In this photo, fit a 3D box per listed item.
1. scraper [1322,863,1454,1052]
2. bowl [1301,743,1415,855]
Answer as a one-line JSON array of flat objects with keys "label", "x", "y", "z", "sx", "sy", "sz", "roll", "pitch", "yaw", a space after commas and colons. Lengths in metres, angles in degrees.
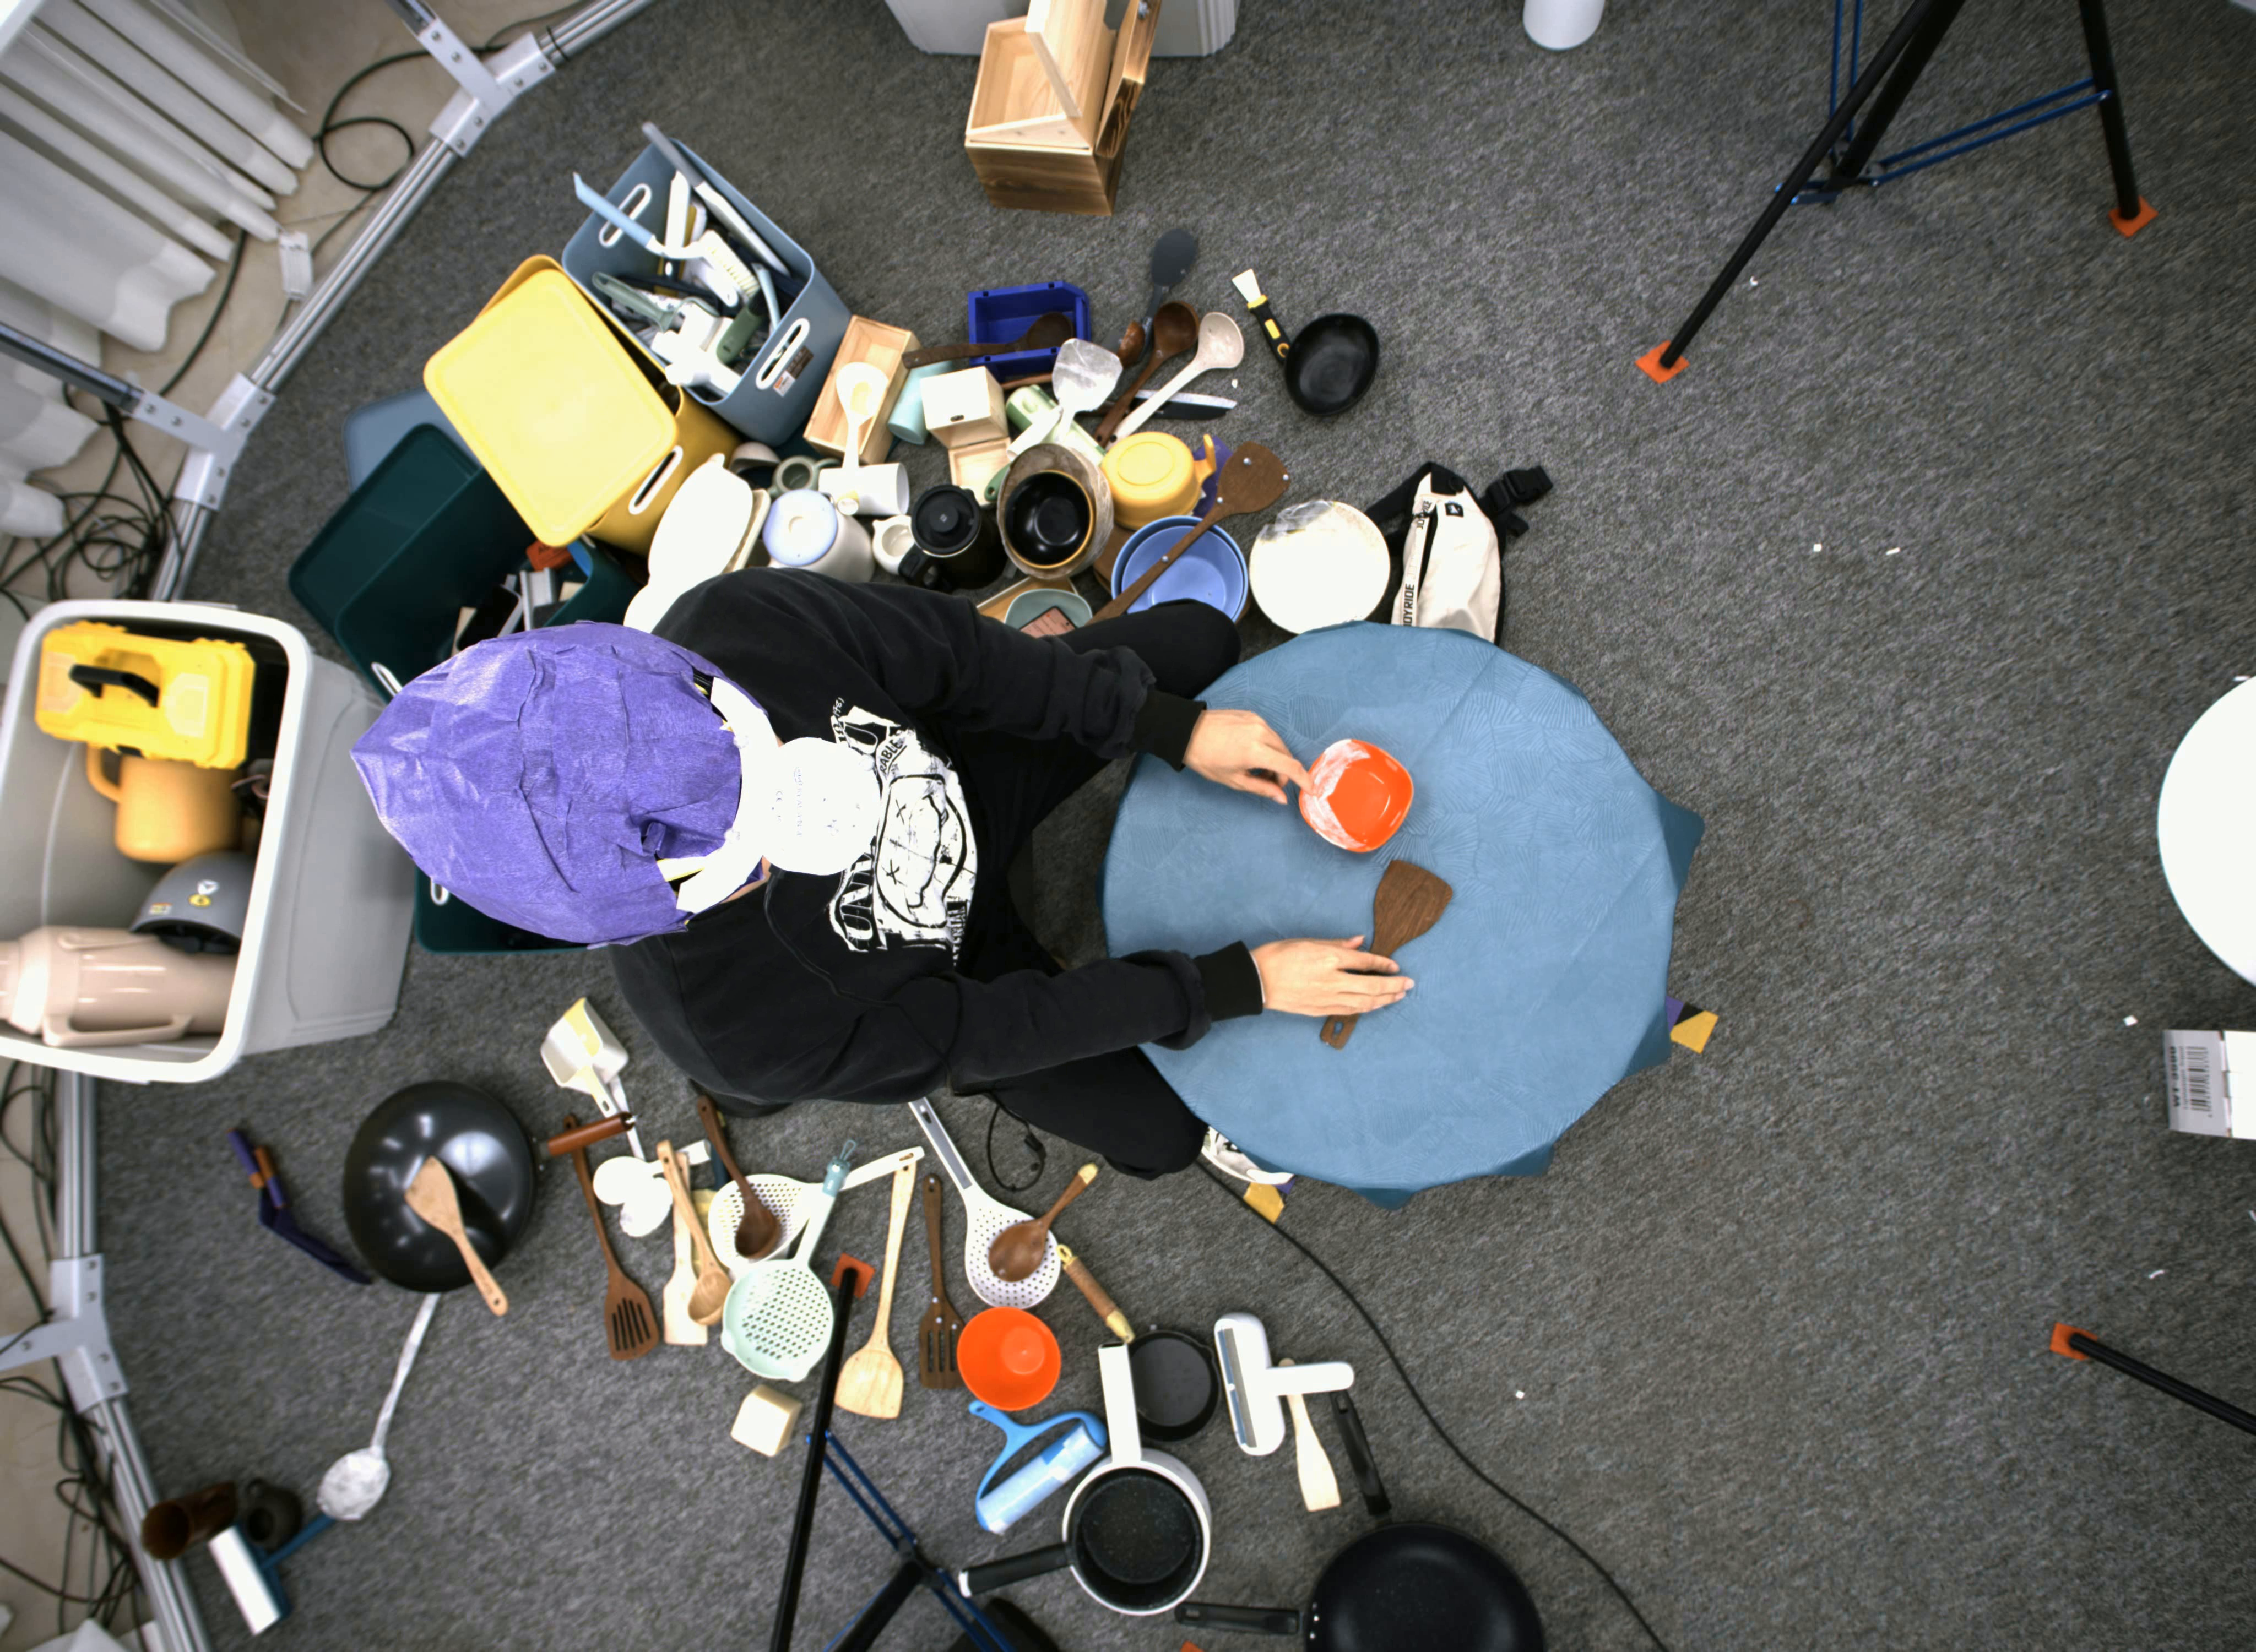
[{"label": "scraper", "x": 0.264, "y": 0.141, "z": 1.457, "sx": 0.075, "sy": 0.011, "sz": 0.211, "roll": 30, "pitch": 92, "yaw": 12}, {"label": "bowl", "x": 0.242, "y": -0.027, "z": 1.452, "sx": 0.119, "sy": 0.051, "sz": 0.118, "roll": -1, "pitch": 86, "yaw": 9}]
